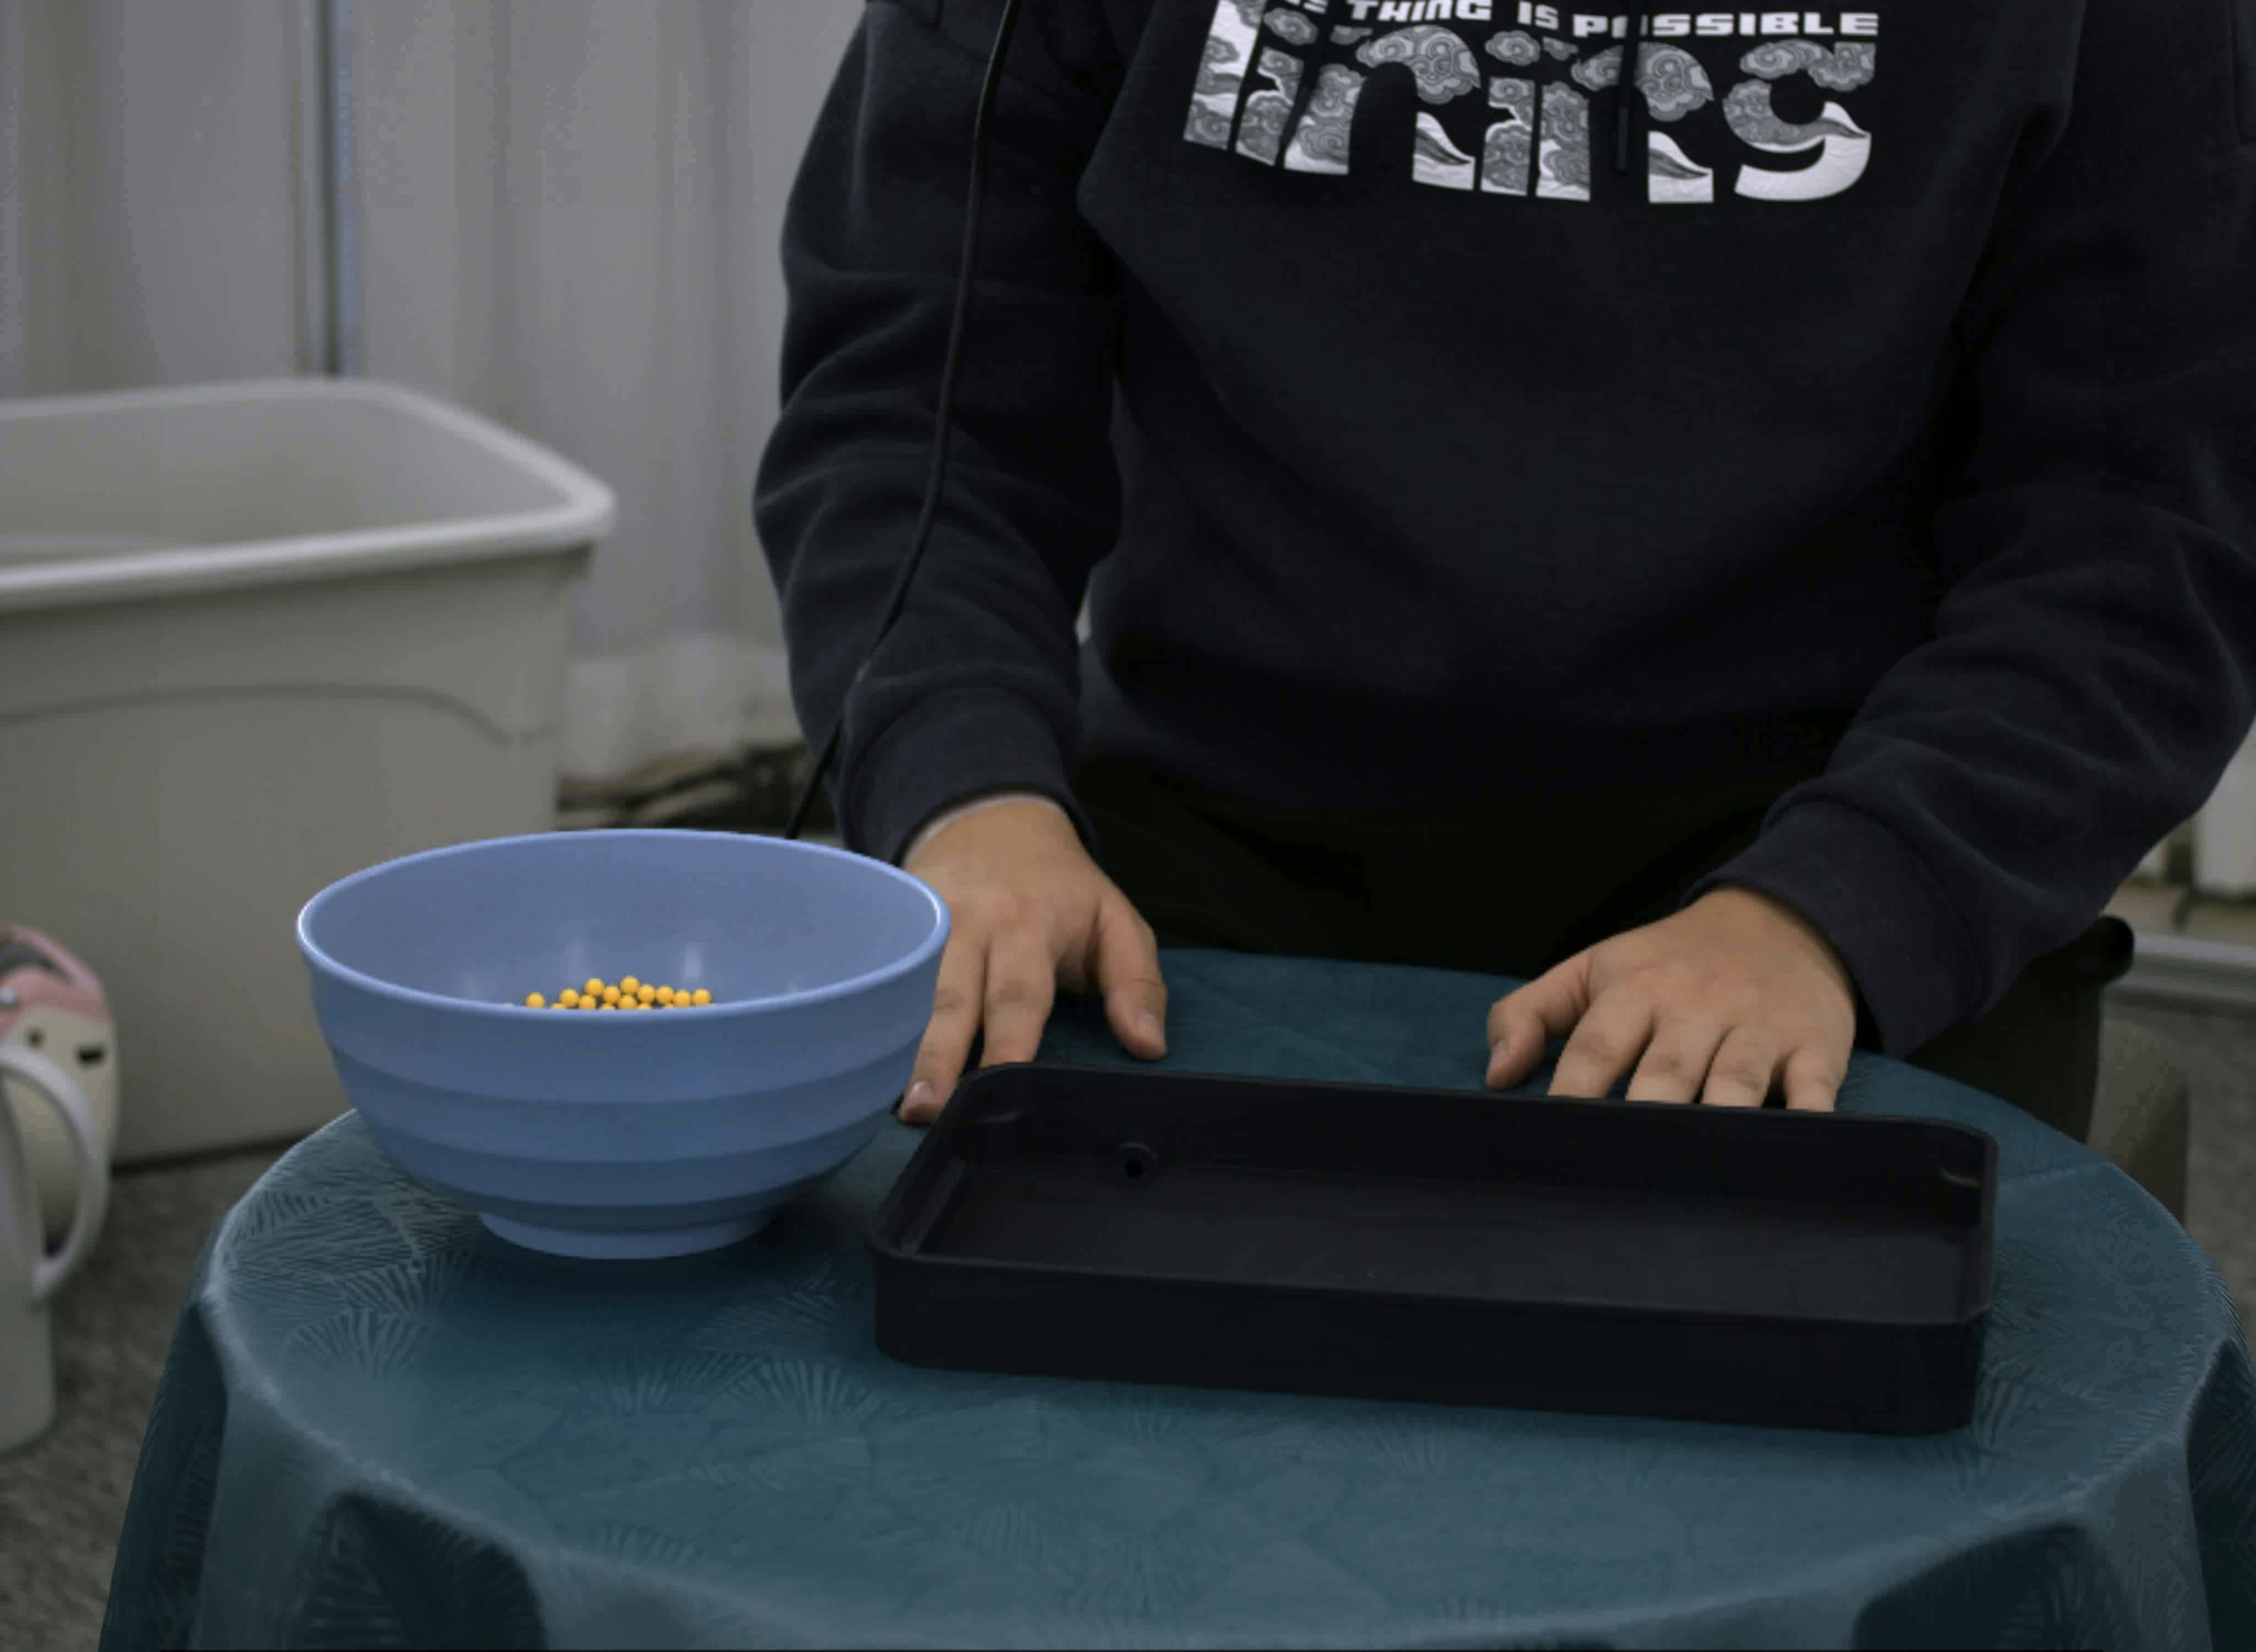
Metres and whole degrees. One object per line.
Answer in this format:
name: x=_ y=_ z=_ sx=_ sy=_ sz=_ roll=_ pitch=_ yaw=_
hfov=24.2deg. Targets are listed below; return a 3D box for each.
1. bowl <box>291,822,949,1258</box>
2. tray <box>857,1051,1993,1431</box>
bowl: x=-0.151 y=0.070 z=1.589 sx=0.196 sy=0.096 sz=0.195 roll=0 pitch=17 yaw=1
tray: x=0.091 y=0.118 z=1.538 sx=0.316 sy=0.037 sz=0.184 roll=3 pitch=15 yaw=8
